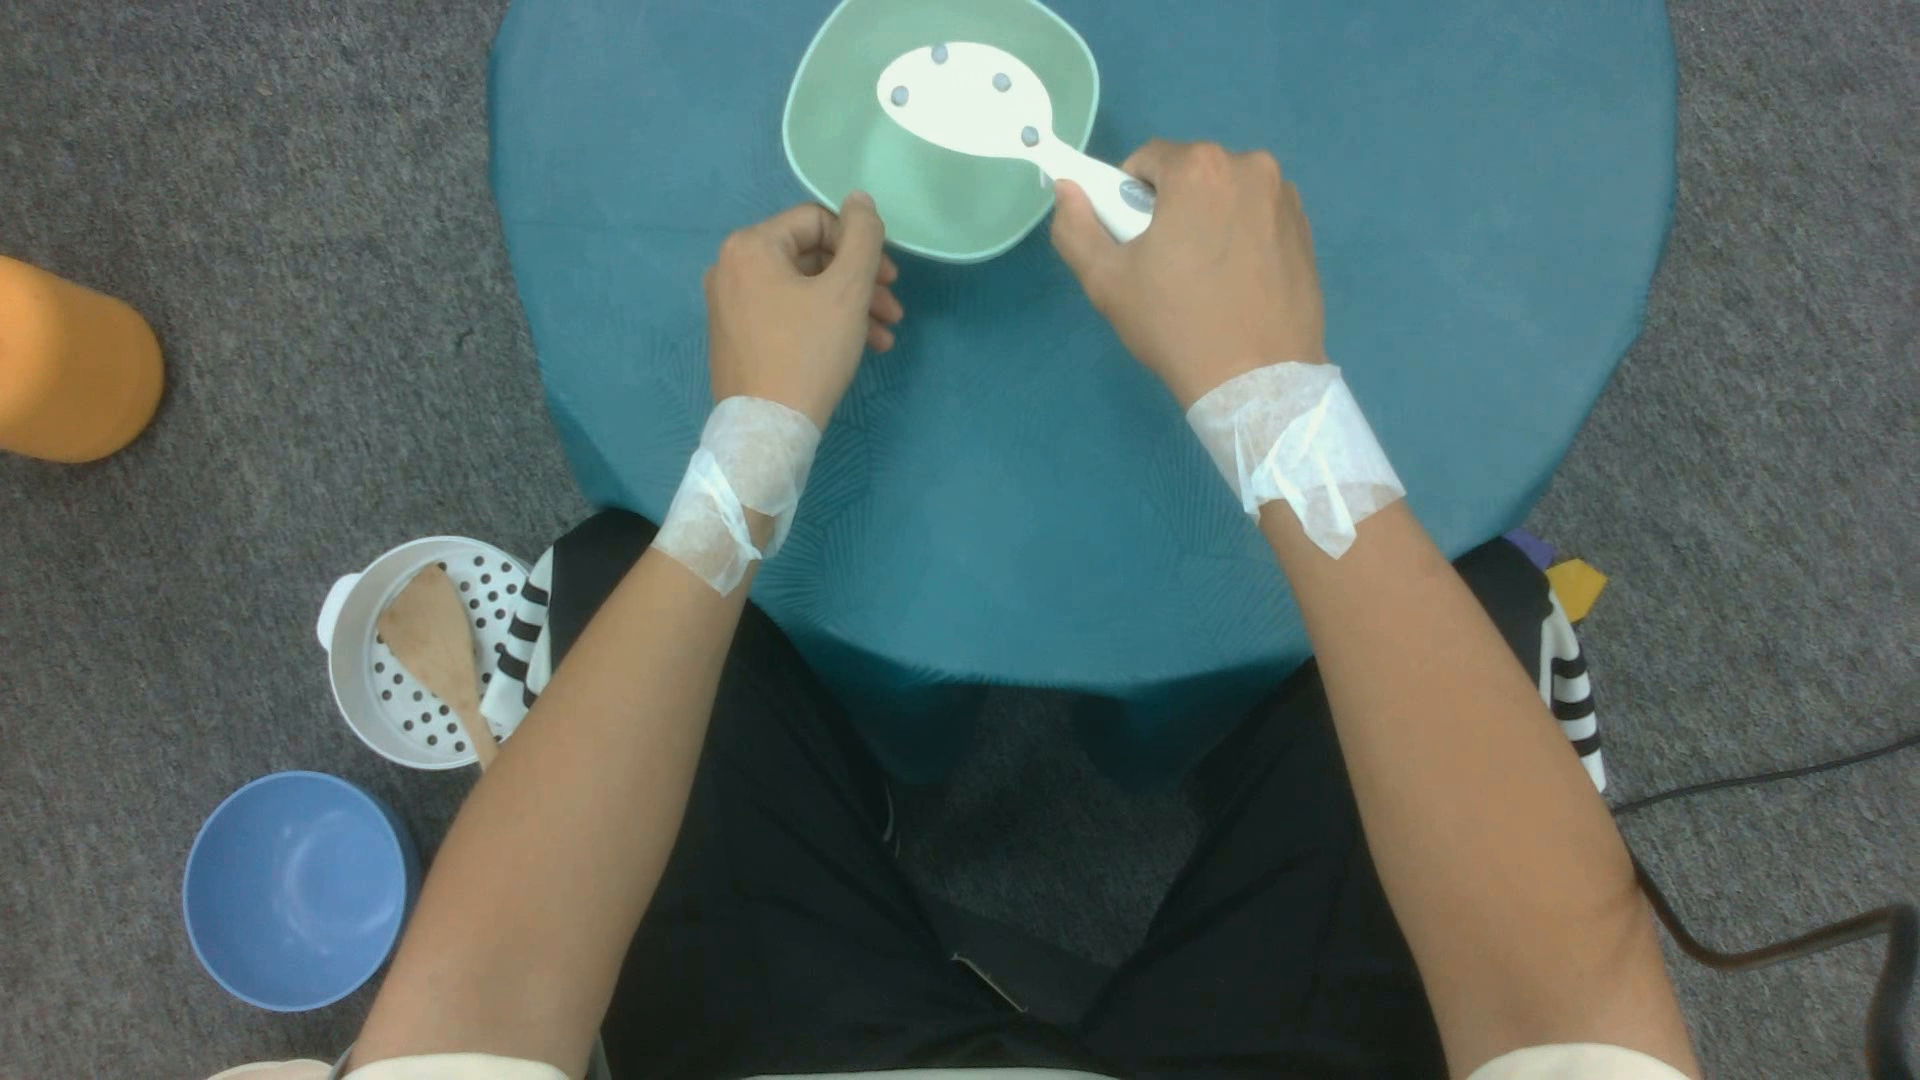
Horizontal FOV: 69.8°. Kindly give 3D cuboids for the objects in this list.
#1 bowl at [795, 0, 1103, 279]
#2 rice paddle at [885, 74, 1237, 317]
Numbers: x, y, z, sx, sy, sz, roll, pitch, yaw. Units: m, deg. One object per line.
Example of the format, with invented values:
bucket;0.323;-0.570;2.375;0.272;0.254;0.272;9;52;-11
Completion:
bowl;-0.005;-0.191;0.687;0.151;0.058;0.152;0;78;0
rice paddle;0.039;-0.165;0.620;0.069;0.029;0.205;-34;56;-21
